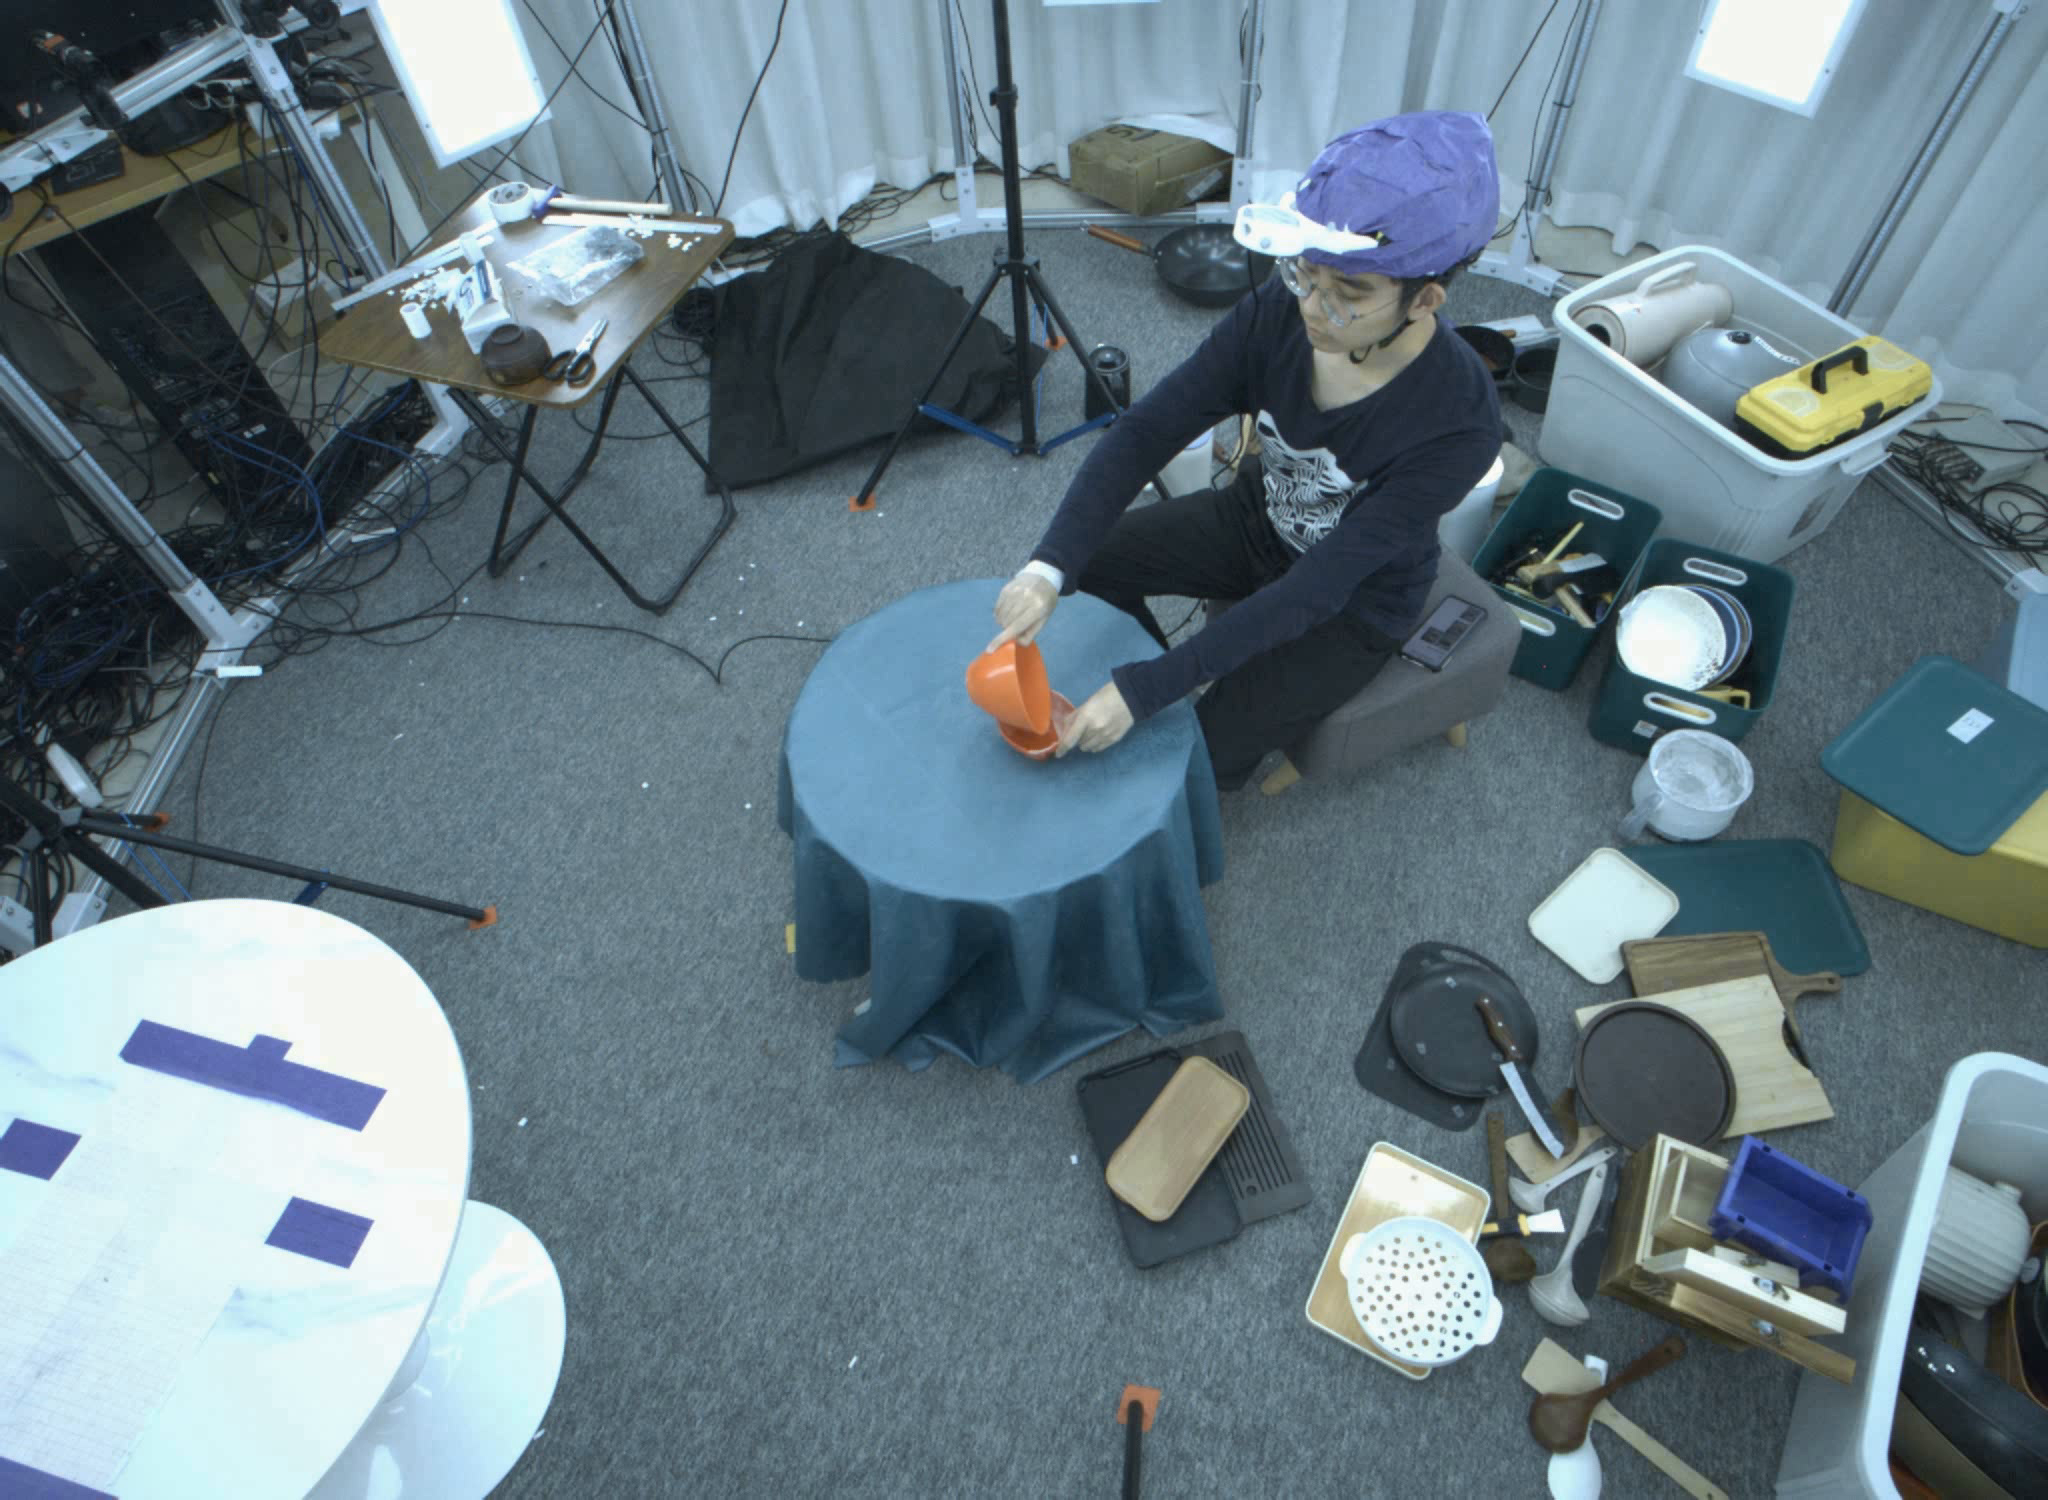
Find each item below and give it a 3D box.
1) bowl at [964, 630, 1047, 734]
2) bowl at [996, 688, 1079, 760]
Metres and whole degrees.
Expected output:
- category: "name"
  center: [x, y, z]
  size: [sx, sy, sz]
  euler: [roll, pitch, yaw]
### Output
- category: "bowl"
  center: [-0.028, -0.092, 1.729]
  size: [0.103, 0.151, 0.147]
  euler: [-4, 52, 22]
- category: "bowl"
  center: [0.021, -0.031, 1.787]
  size: [0.119, 0.052, 0.117]
  euler: [0, 52, 2]
